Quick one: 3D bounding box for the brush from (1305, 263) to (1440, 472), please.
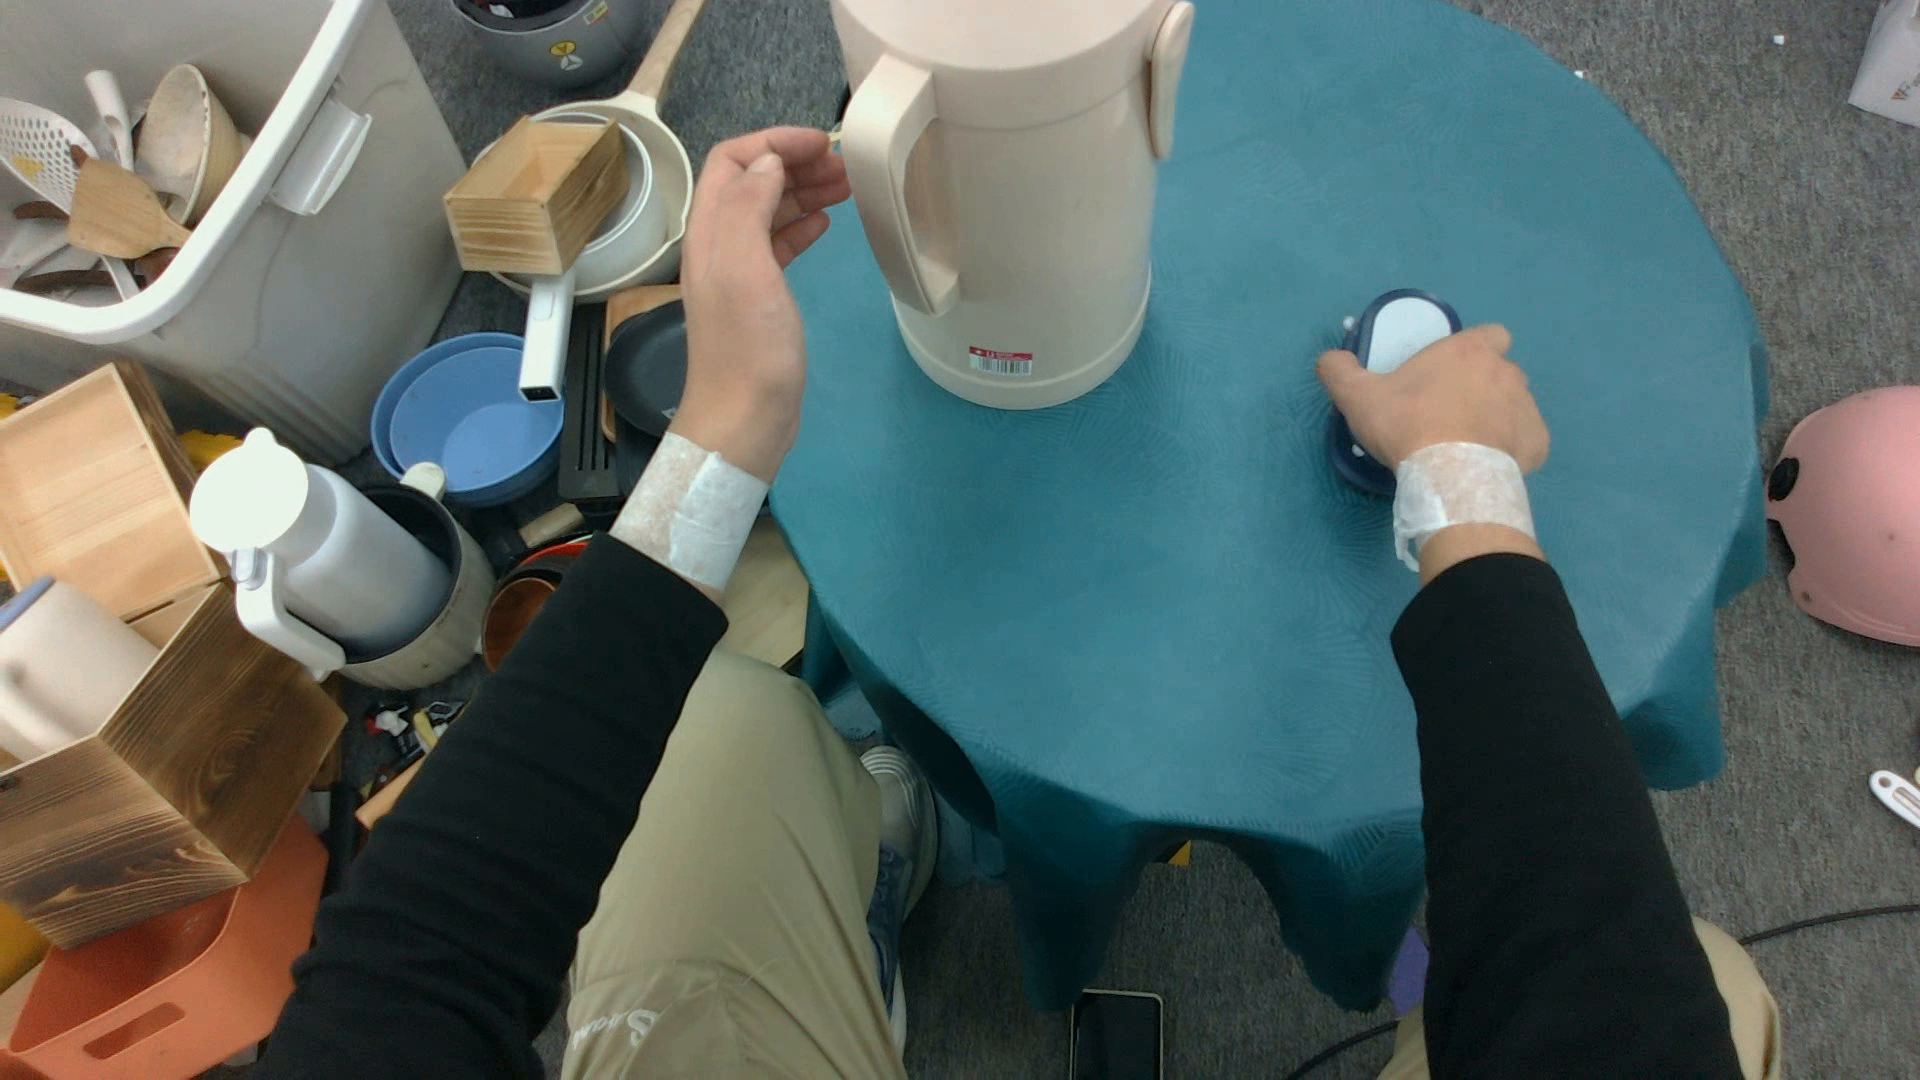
[{"bbox_3d":[0.237,-0.097,0.791,0.068,0.061,0.122,15,70,9],"label":"brush"}]

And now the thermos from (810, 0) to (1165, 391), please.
[{"bbox_3d":[0.003,-0.223,0.675,0.175,0.405,0.207,27,72,11],"label":"thermos"}]
